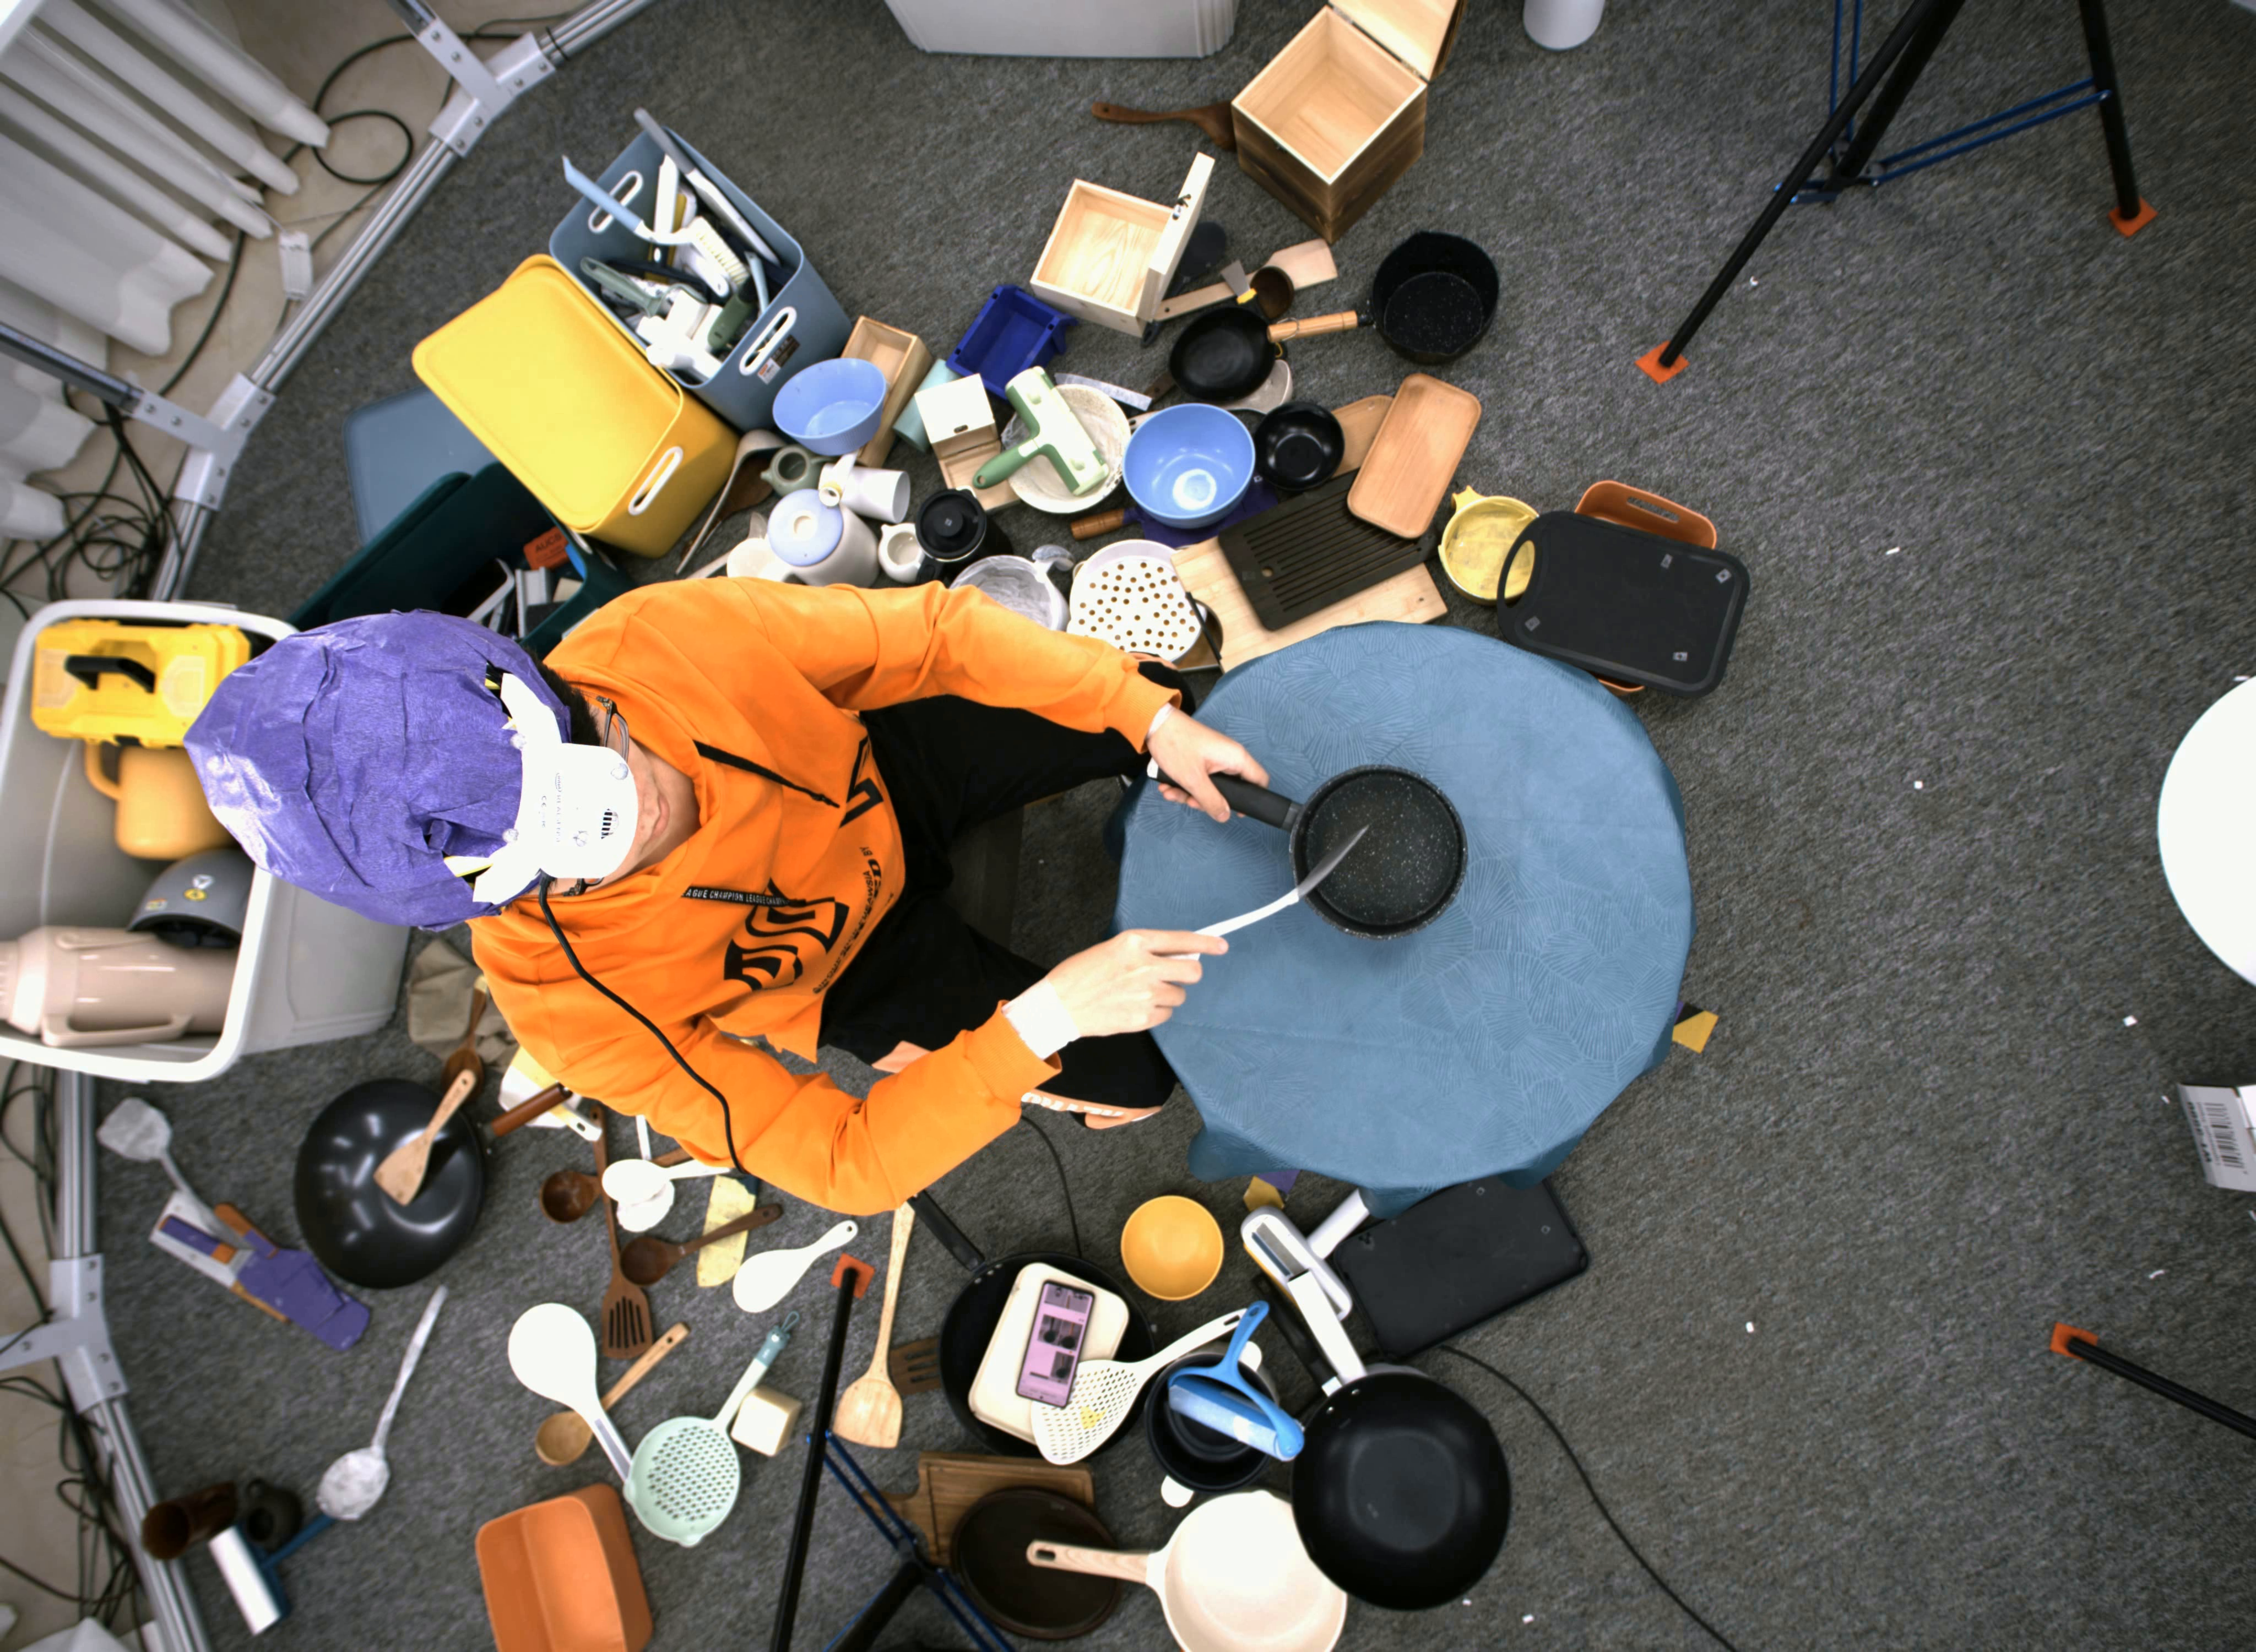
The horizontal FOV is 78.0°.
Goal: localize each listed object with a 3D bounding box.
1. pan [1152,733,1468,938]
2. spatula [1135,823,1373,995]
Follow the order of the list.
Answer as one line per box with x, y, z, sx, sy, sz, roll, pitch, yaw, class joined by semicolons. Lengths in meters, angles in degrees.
0.180;-0.010;1.387;0.328;0.086;0.173;25;98;10;pan
0.125;0.074;1.299;0.283;0.060;0.032;-30;82;-26;spatula
